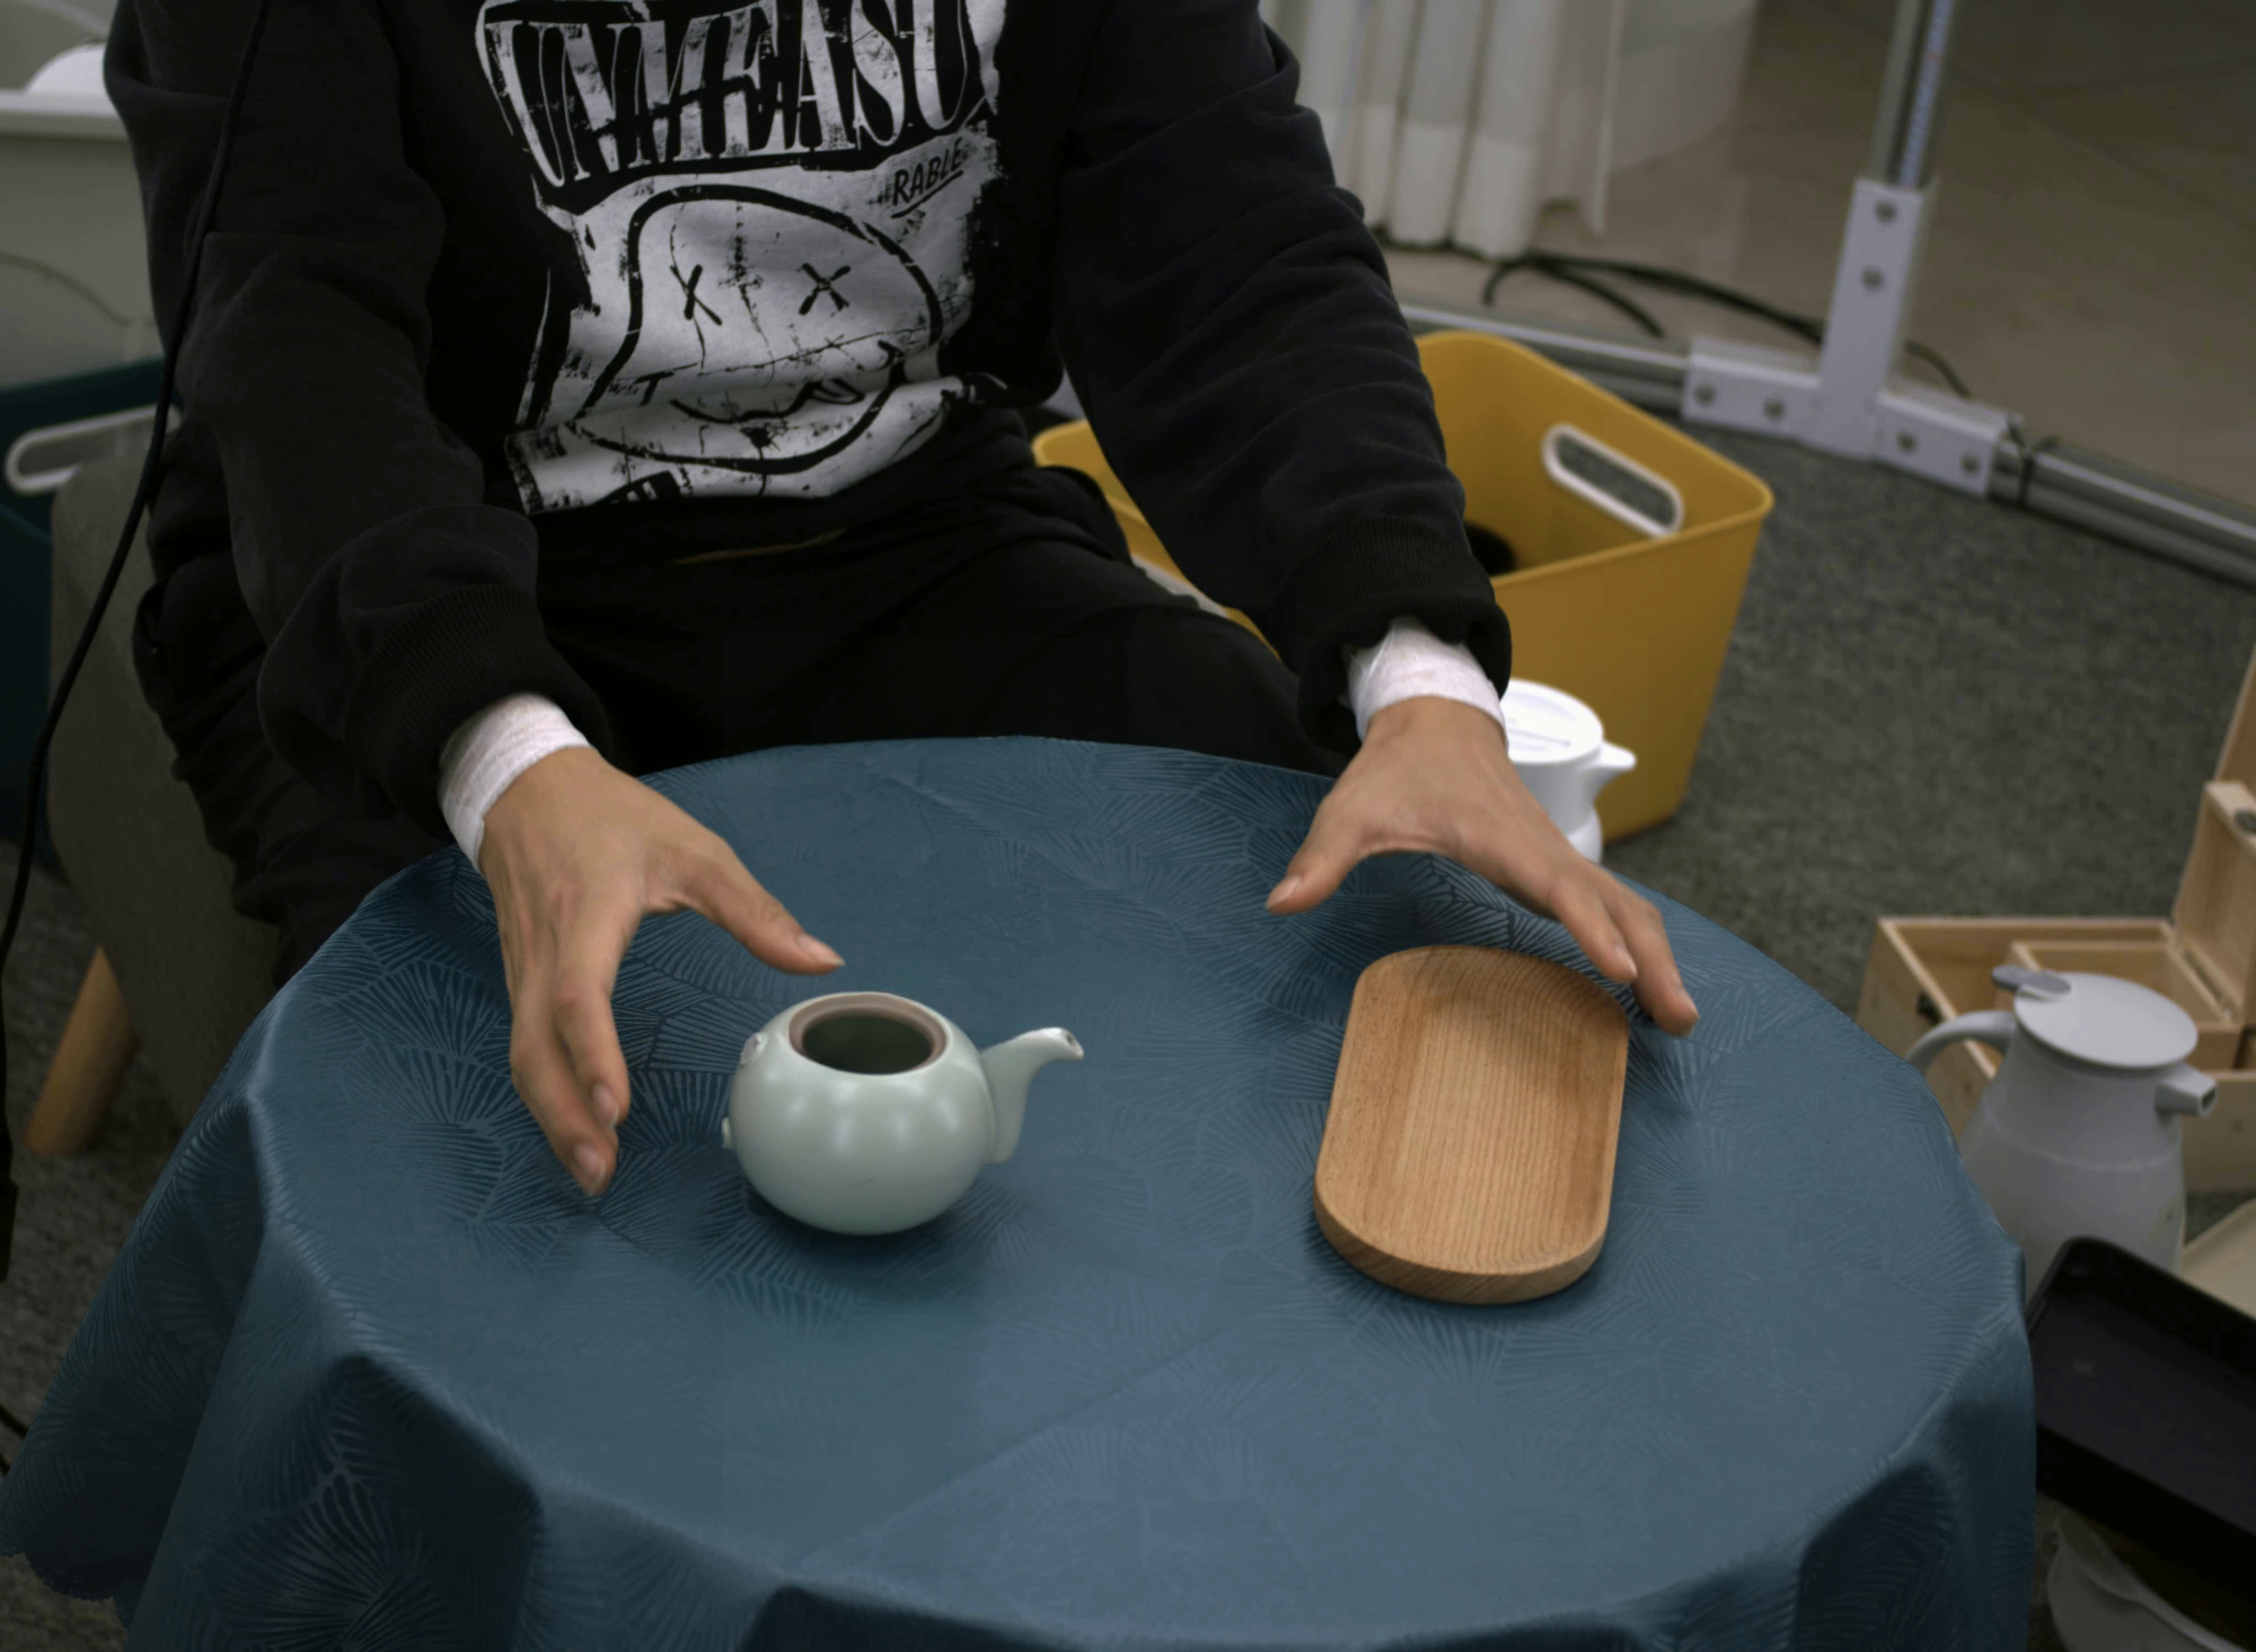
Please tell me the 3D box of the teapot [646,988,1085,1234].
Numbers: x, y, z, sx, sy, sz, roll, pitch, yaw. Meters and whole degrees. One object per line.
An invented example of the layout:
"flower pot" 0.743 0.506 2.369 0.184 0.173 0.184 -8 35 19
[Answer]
"teapot" -0.089 0.094 1.764 0.143 0.074 0.089 7 27 -4

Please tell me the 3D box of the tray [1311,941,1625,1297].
"tray" 0.120 0.100 1.861 0.101 0.020 0.232 10 26 3
